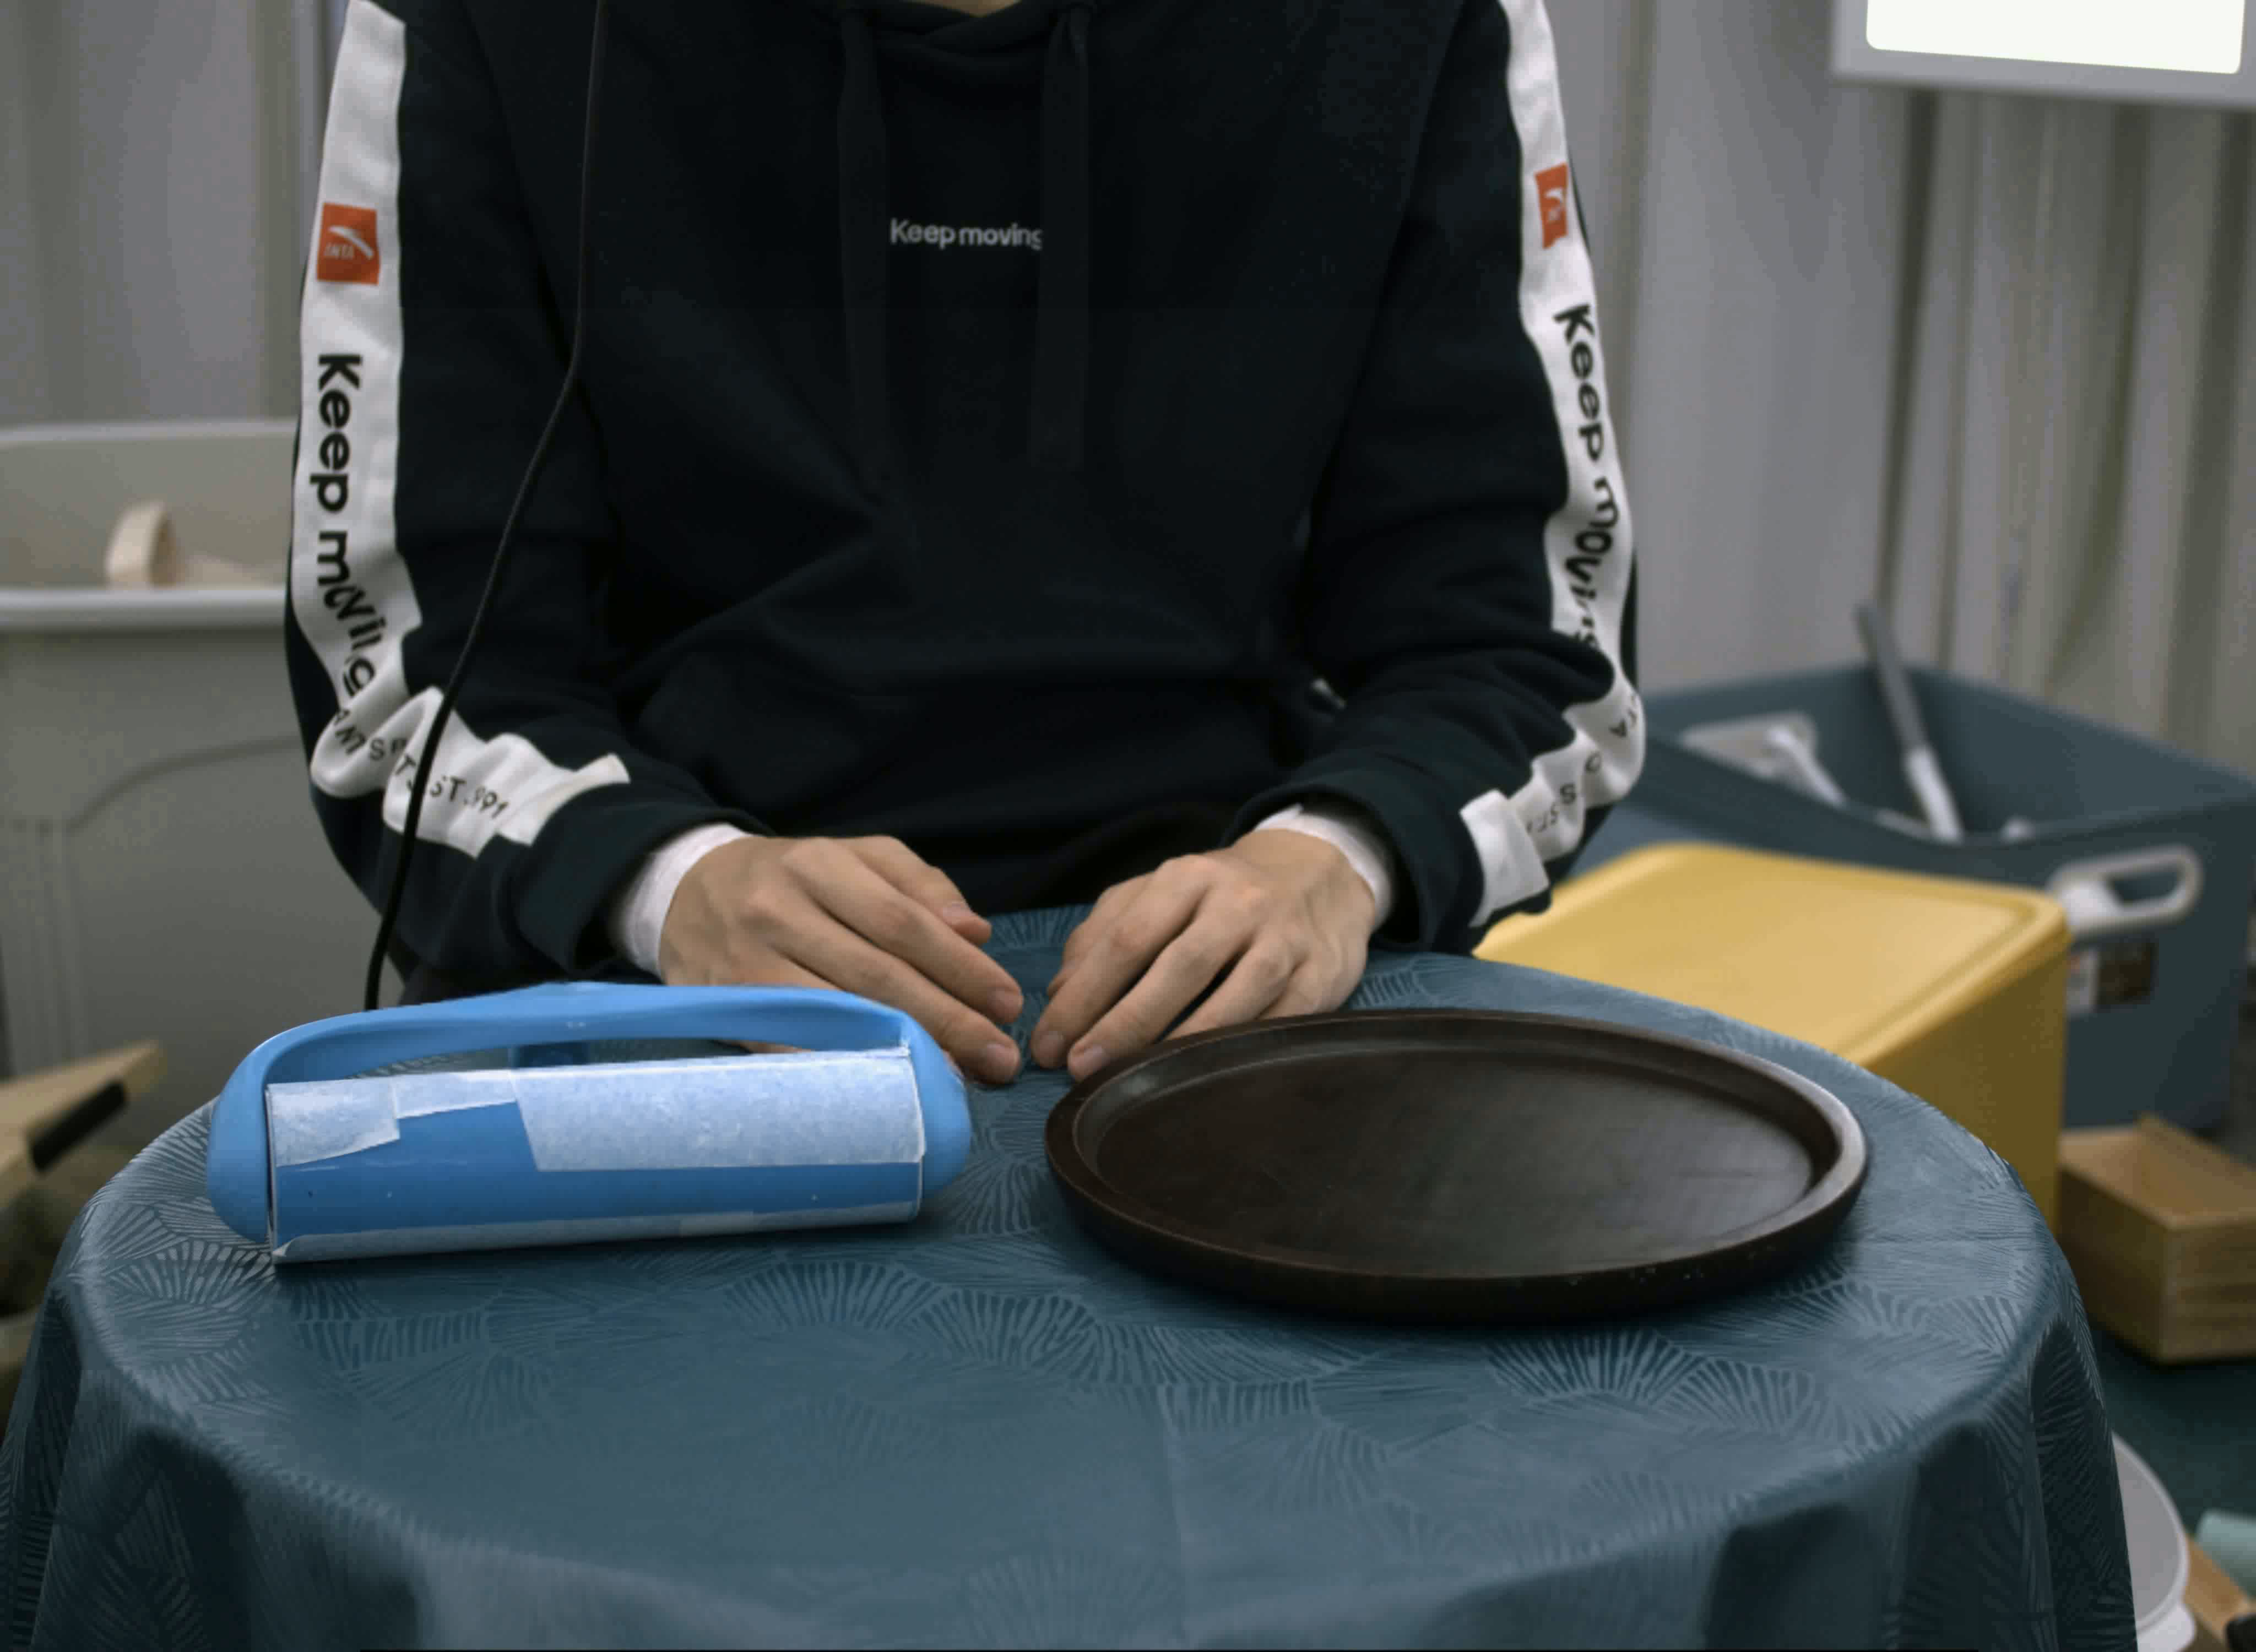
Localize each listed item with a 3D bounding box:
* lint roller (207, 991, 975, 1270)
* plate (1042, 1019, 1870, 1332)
[{"bbox_3d":[-0.173,0.081,1.620,0.229,0.068,0.178,-5,17,-14],"label":"lint roller"},{"bbox_3d":[0.100,0.103,1.611,0.254,0.029,0.253,1,16,0],"label":"plate"}]
